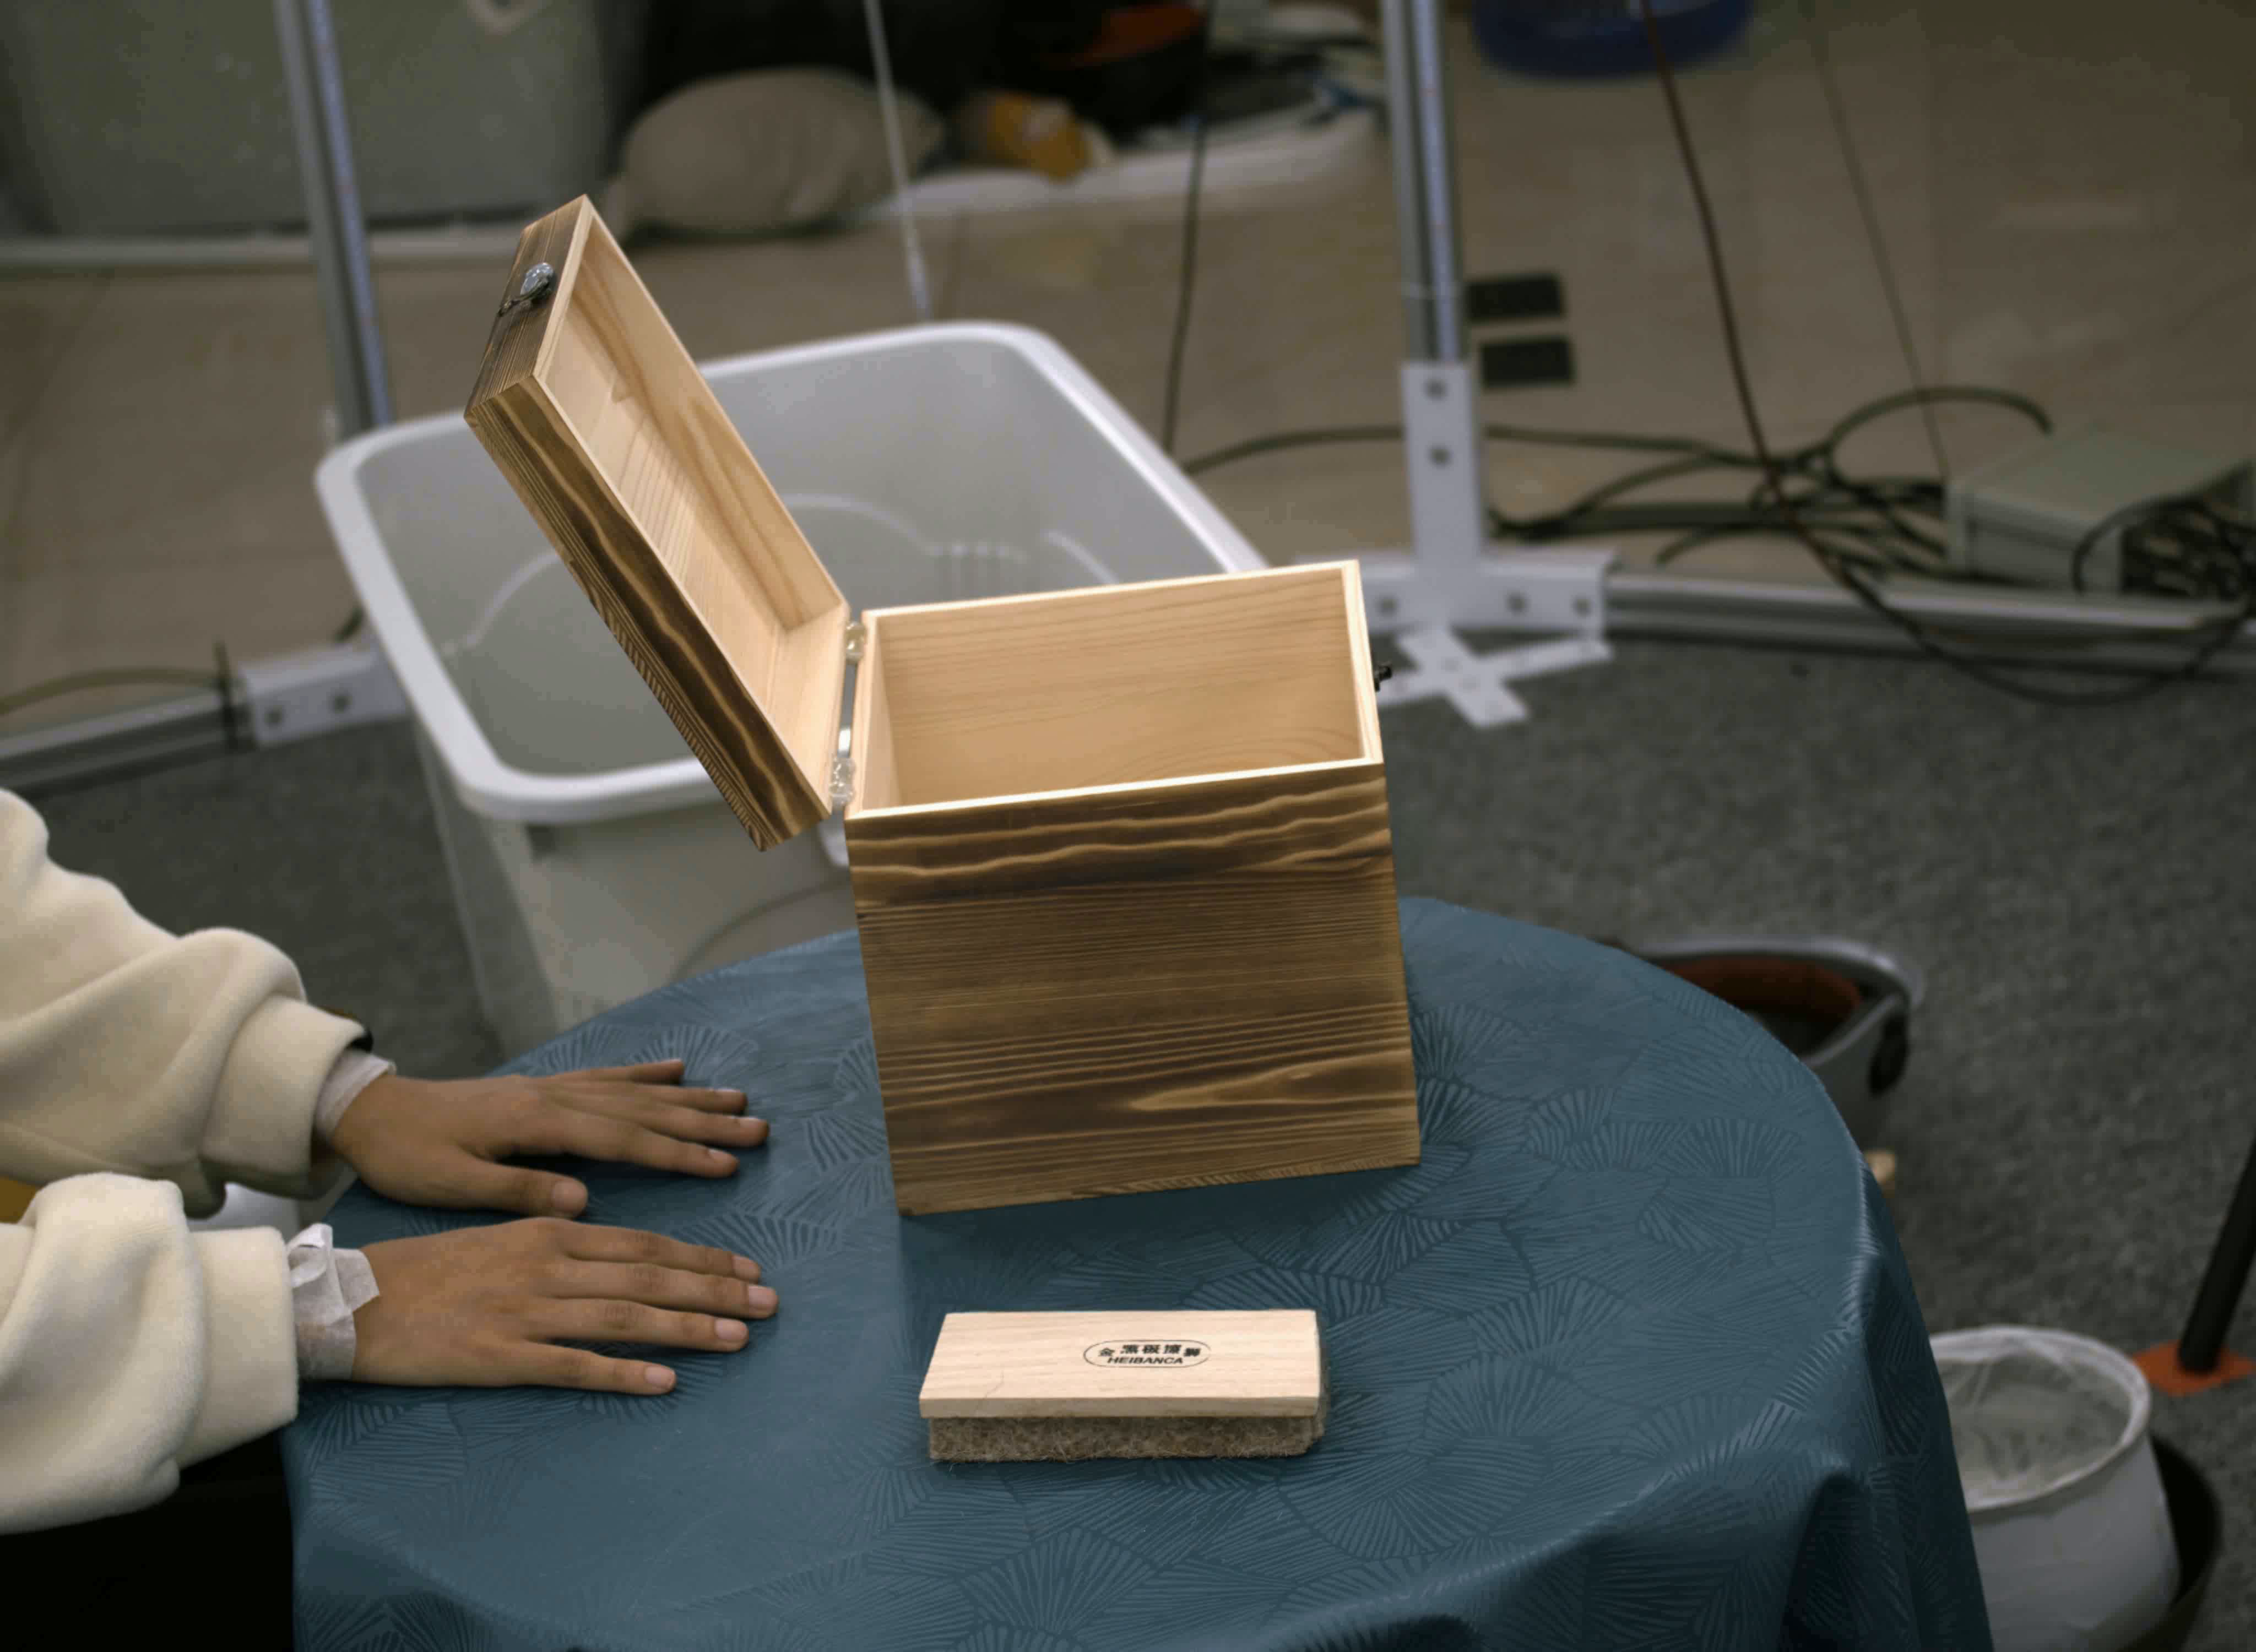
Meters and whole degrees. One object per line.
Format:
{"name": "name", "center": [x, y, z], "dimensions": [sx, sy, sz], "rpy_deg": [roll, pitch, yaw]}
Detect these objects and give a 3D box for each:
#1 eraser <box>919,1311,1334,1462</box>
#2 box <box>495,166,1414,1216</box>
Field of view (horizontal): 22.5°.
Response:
{"name": "eraser", "center": [0.001, 0.197, 1.990], "dimensions": [0.139, 0.029, 0.056], "rpy_deg": [-2, 28, 12]}
{"name": "box", "center": [-0.058, -0.060, 2.152], "dimensions": [0.321, 0.381, 0.205], "rpy_deg": [-6, 27, 1]}
